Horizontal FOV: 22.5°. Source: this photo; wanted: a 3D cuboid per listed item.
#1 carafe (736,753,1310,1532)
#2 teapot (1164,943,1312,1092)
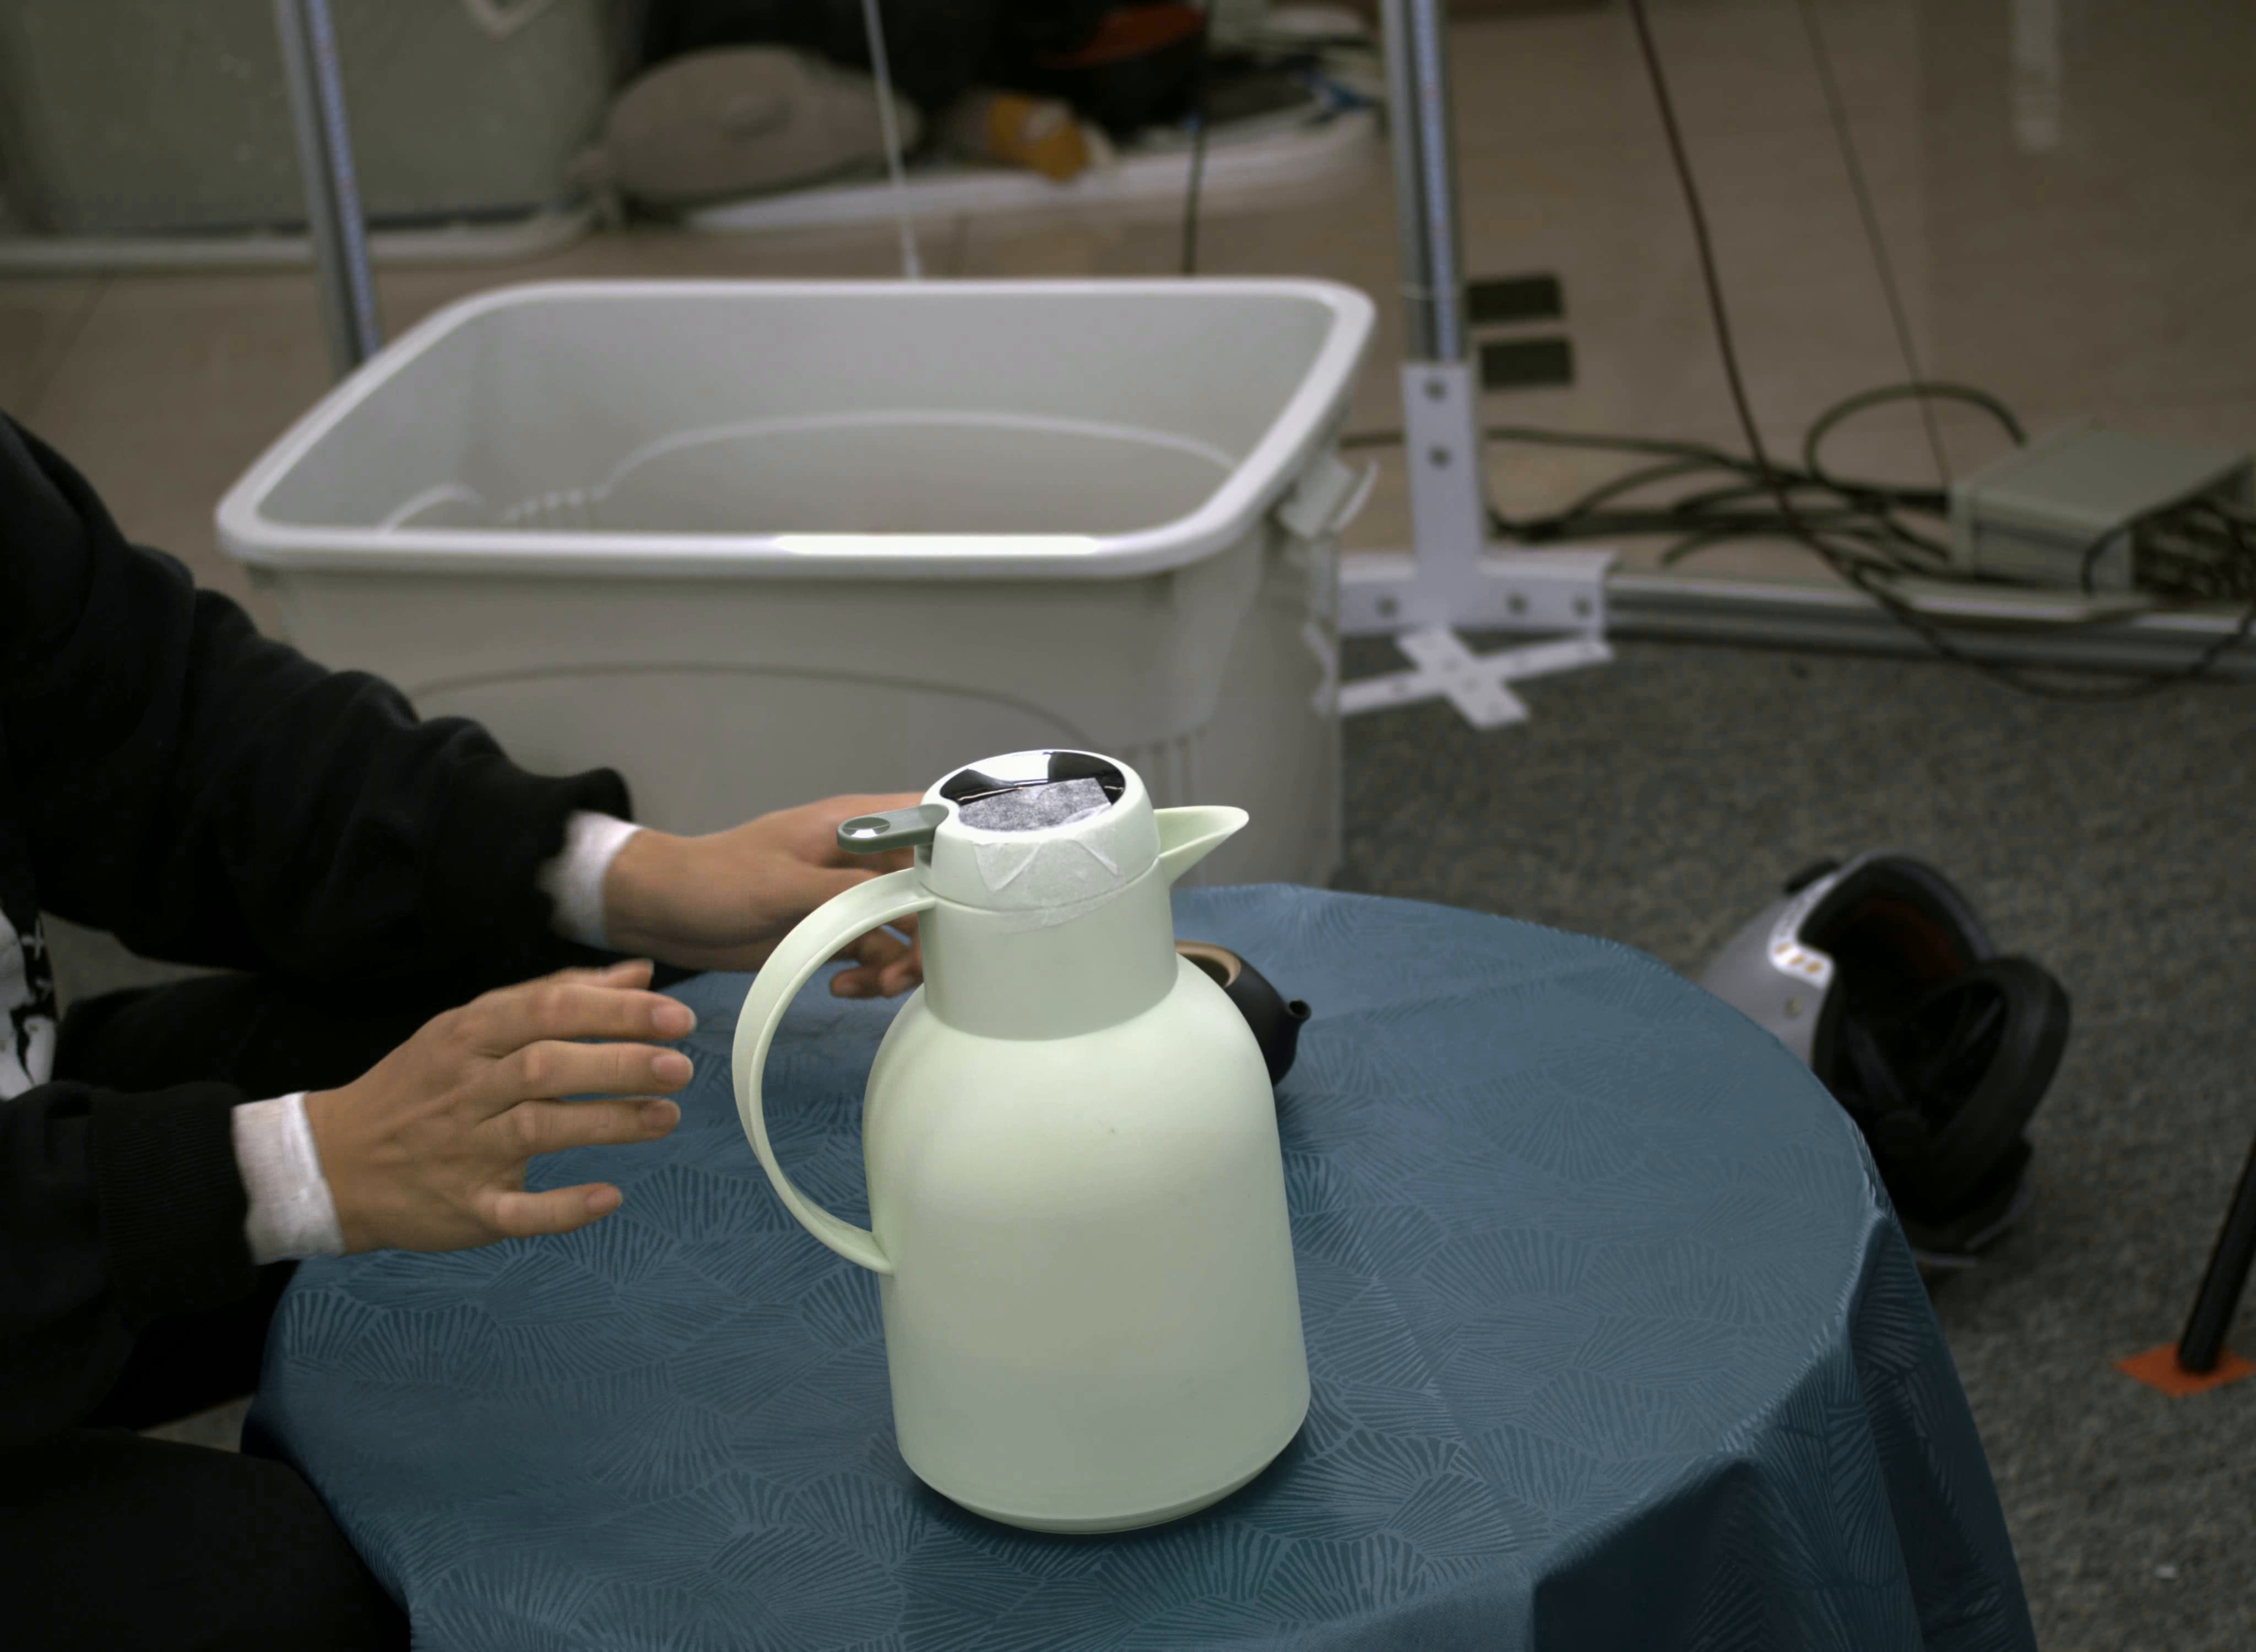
[{"bbox_3d":[-0.034,0.106,1.929,0.186,0.261,0.142,-16,29,-12],"label":"carafe"},{"bbox_3d":[0.017,0.081,2.207,0.132,0.054,0.090,13,30,34],"label":"teapot"}]
